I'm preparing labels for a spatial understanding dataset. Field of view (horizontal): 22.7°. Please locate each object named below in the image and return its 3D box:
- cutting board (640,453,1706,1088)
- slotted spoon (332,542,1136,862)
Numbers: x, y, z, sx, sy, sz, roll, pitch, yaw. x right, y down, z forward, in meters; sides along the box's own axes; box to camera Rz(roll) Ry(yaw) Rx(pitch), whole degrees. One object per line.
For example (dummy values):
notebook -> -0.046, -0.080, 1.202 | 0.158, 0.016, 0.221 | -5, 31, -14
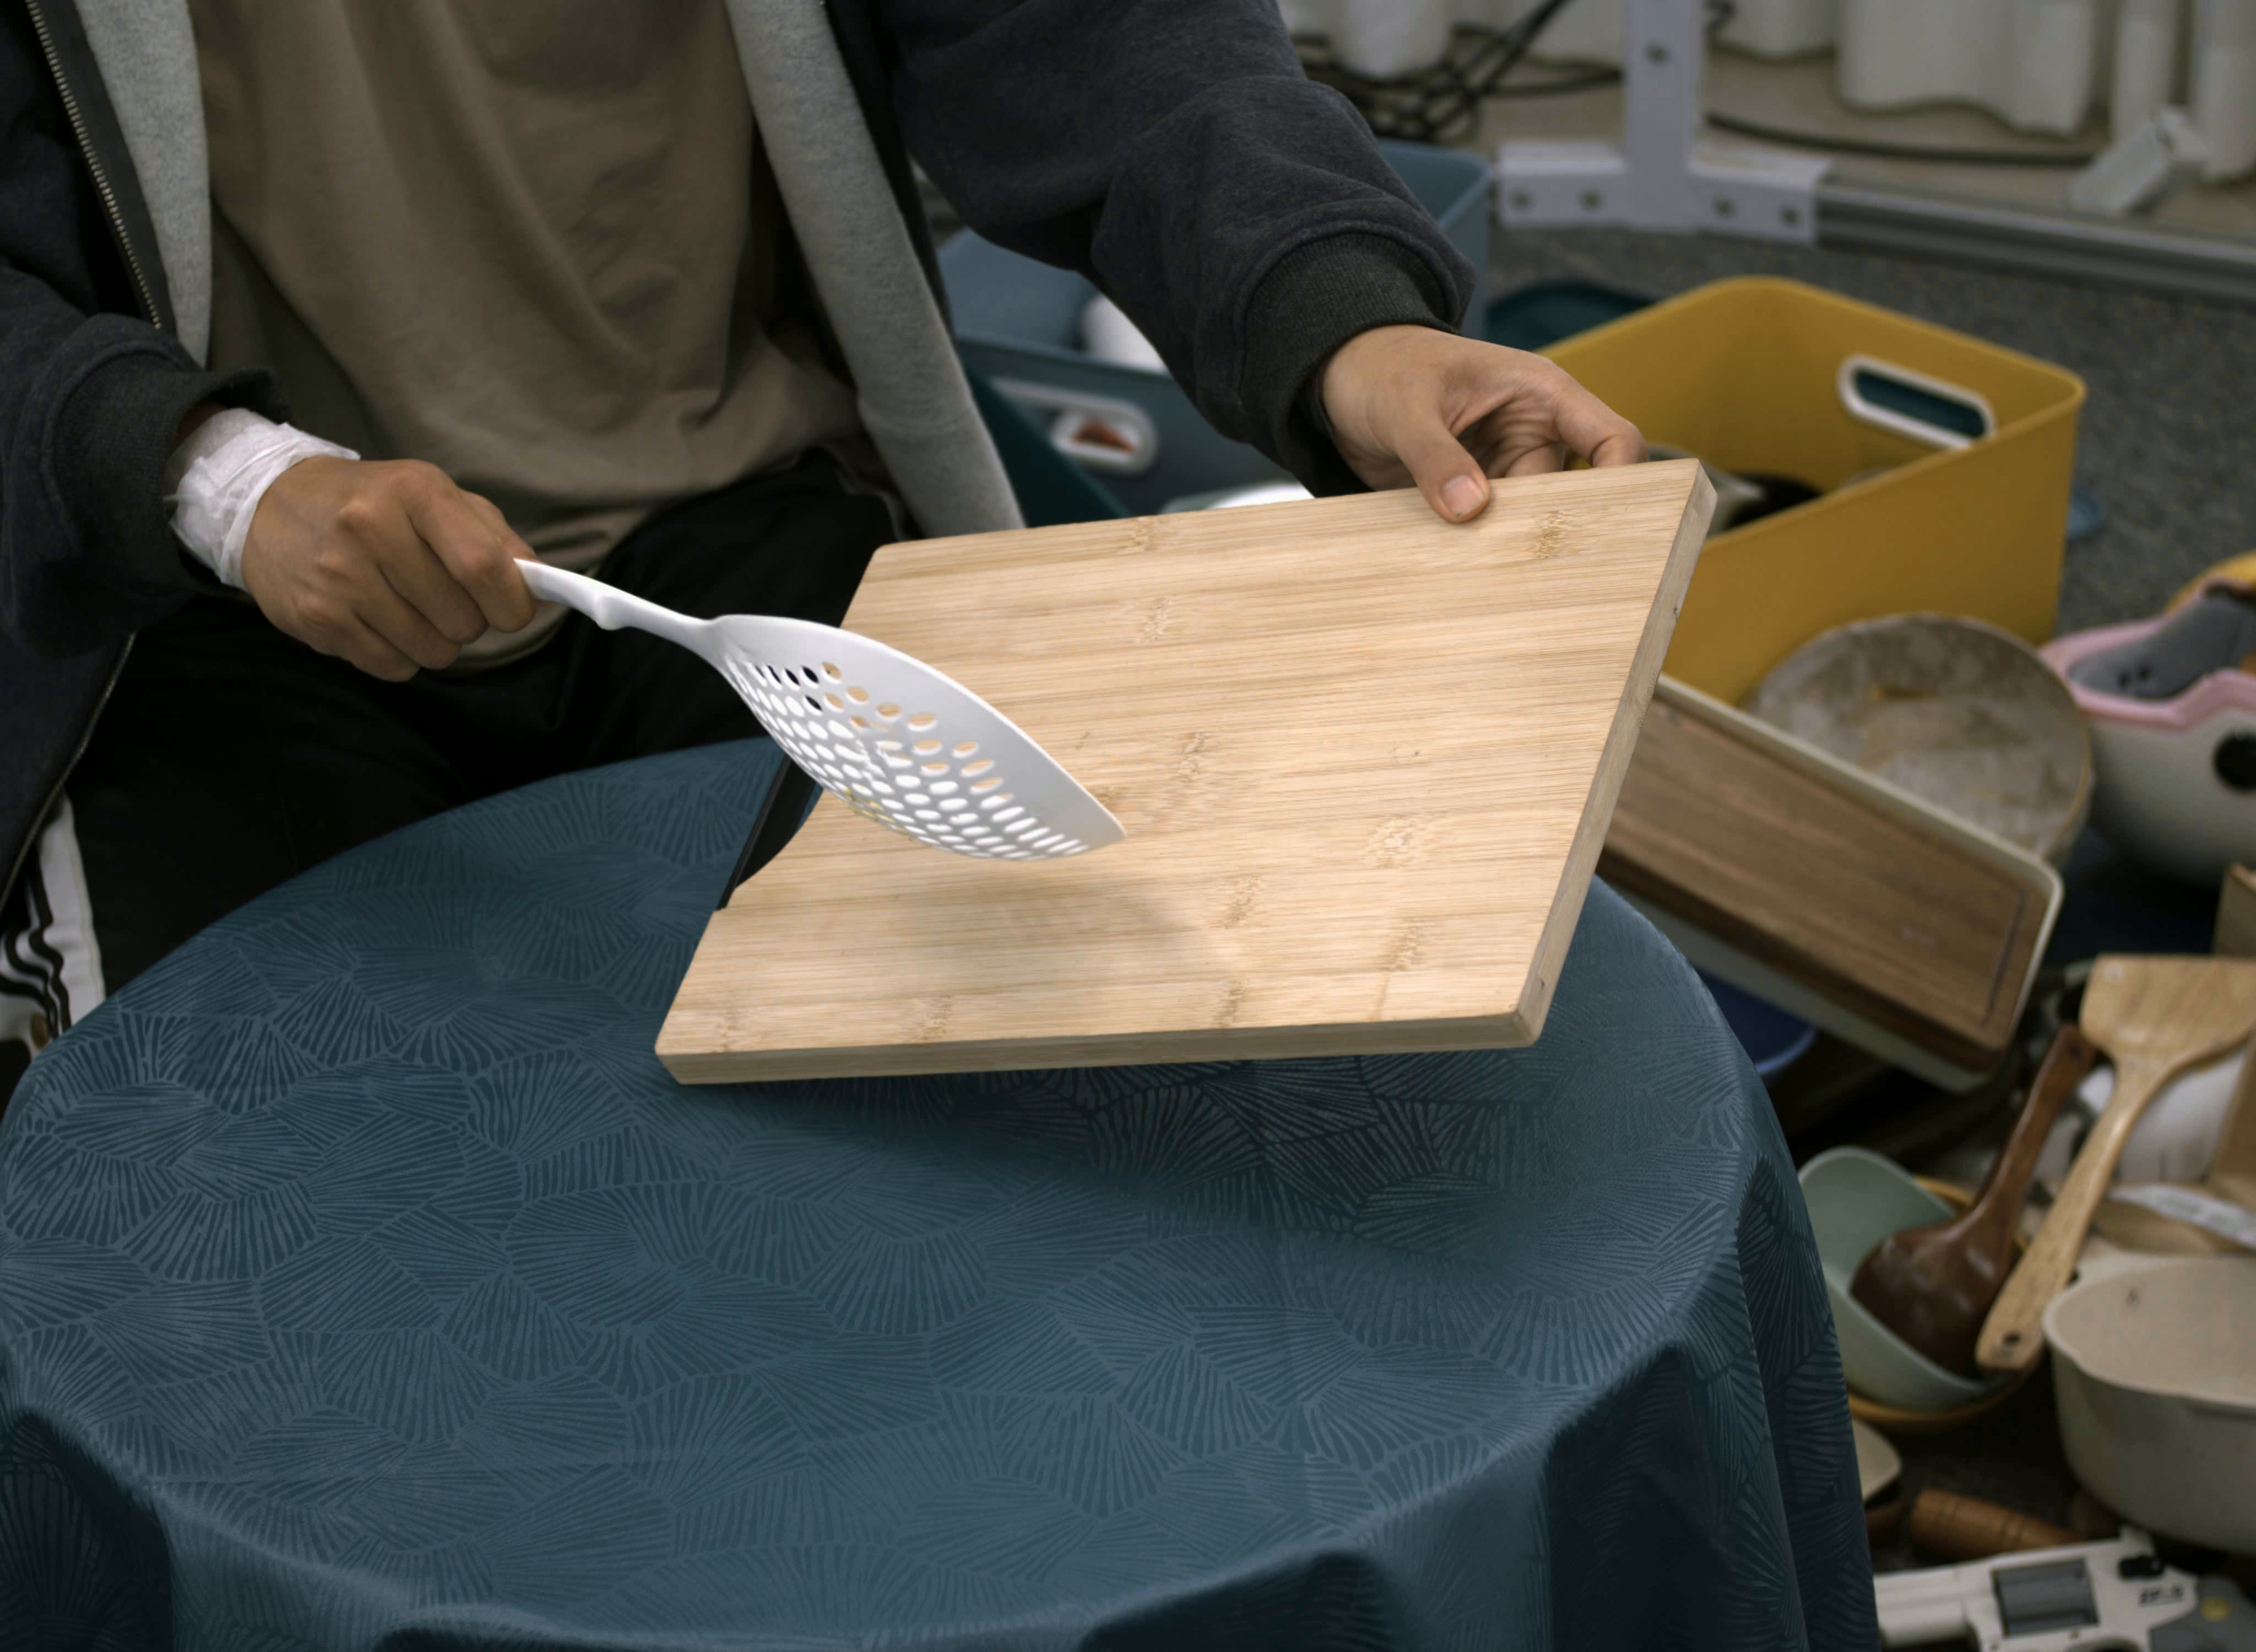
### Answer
cutting board -> 0.014, -0.017, 1.922 | 0.345, 0.023, 0.256 | -5, 46, 31
slotted spoon -> -0.144, -0.053, 1.907 | 0.347, 0.136, 0.051 | 25, 79, 39
